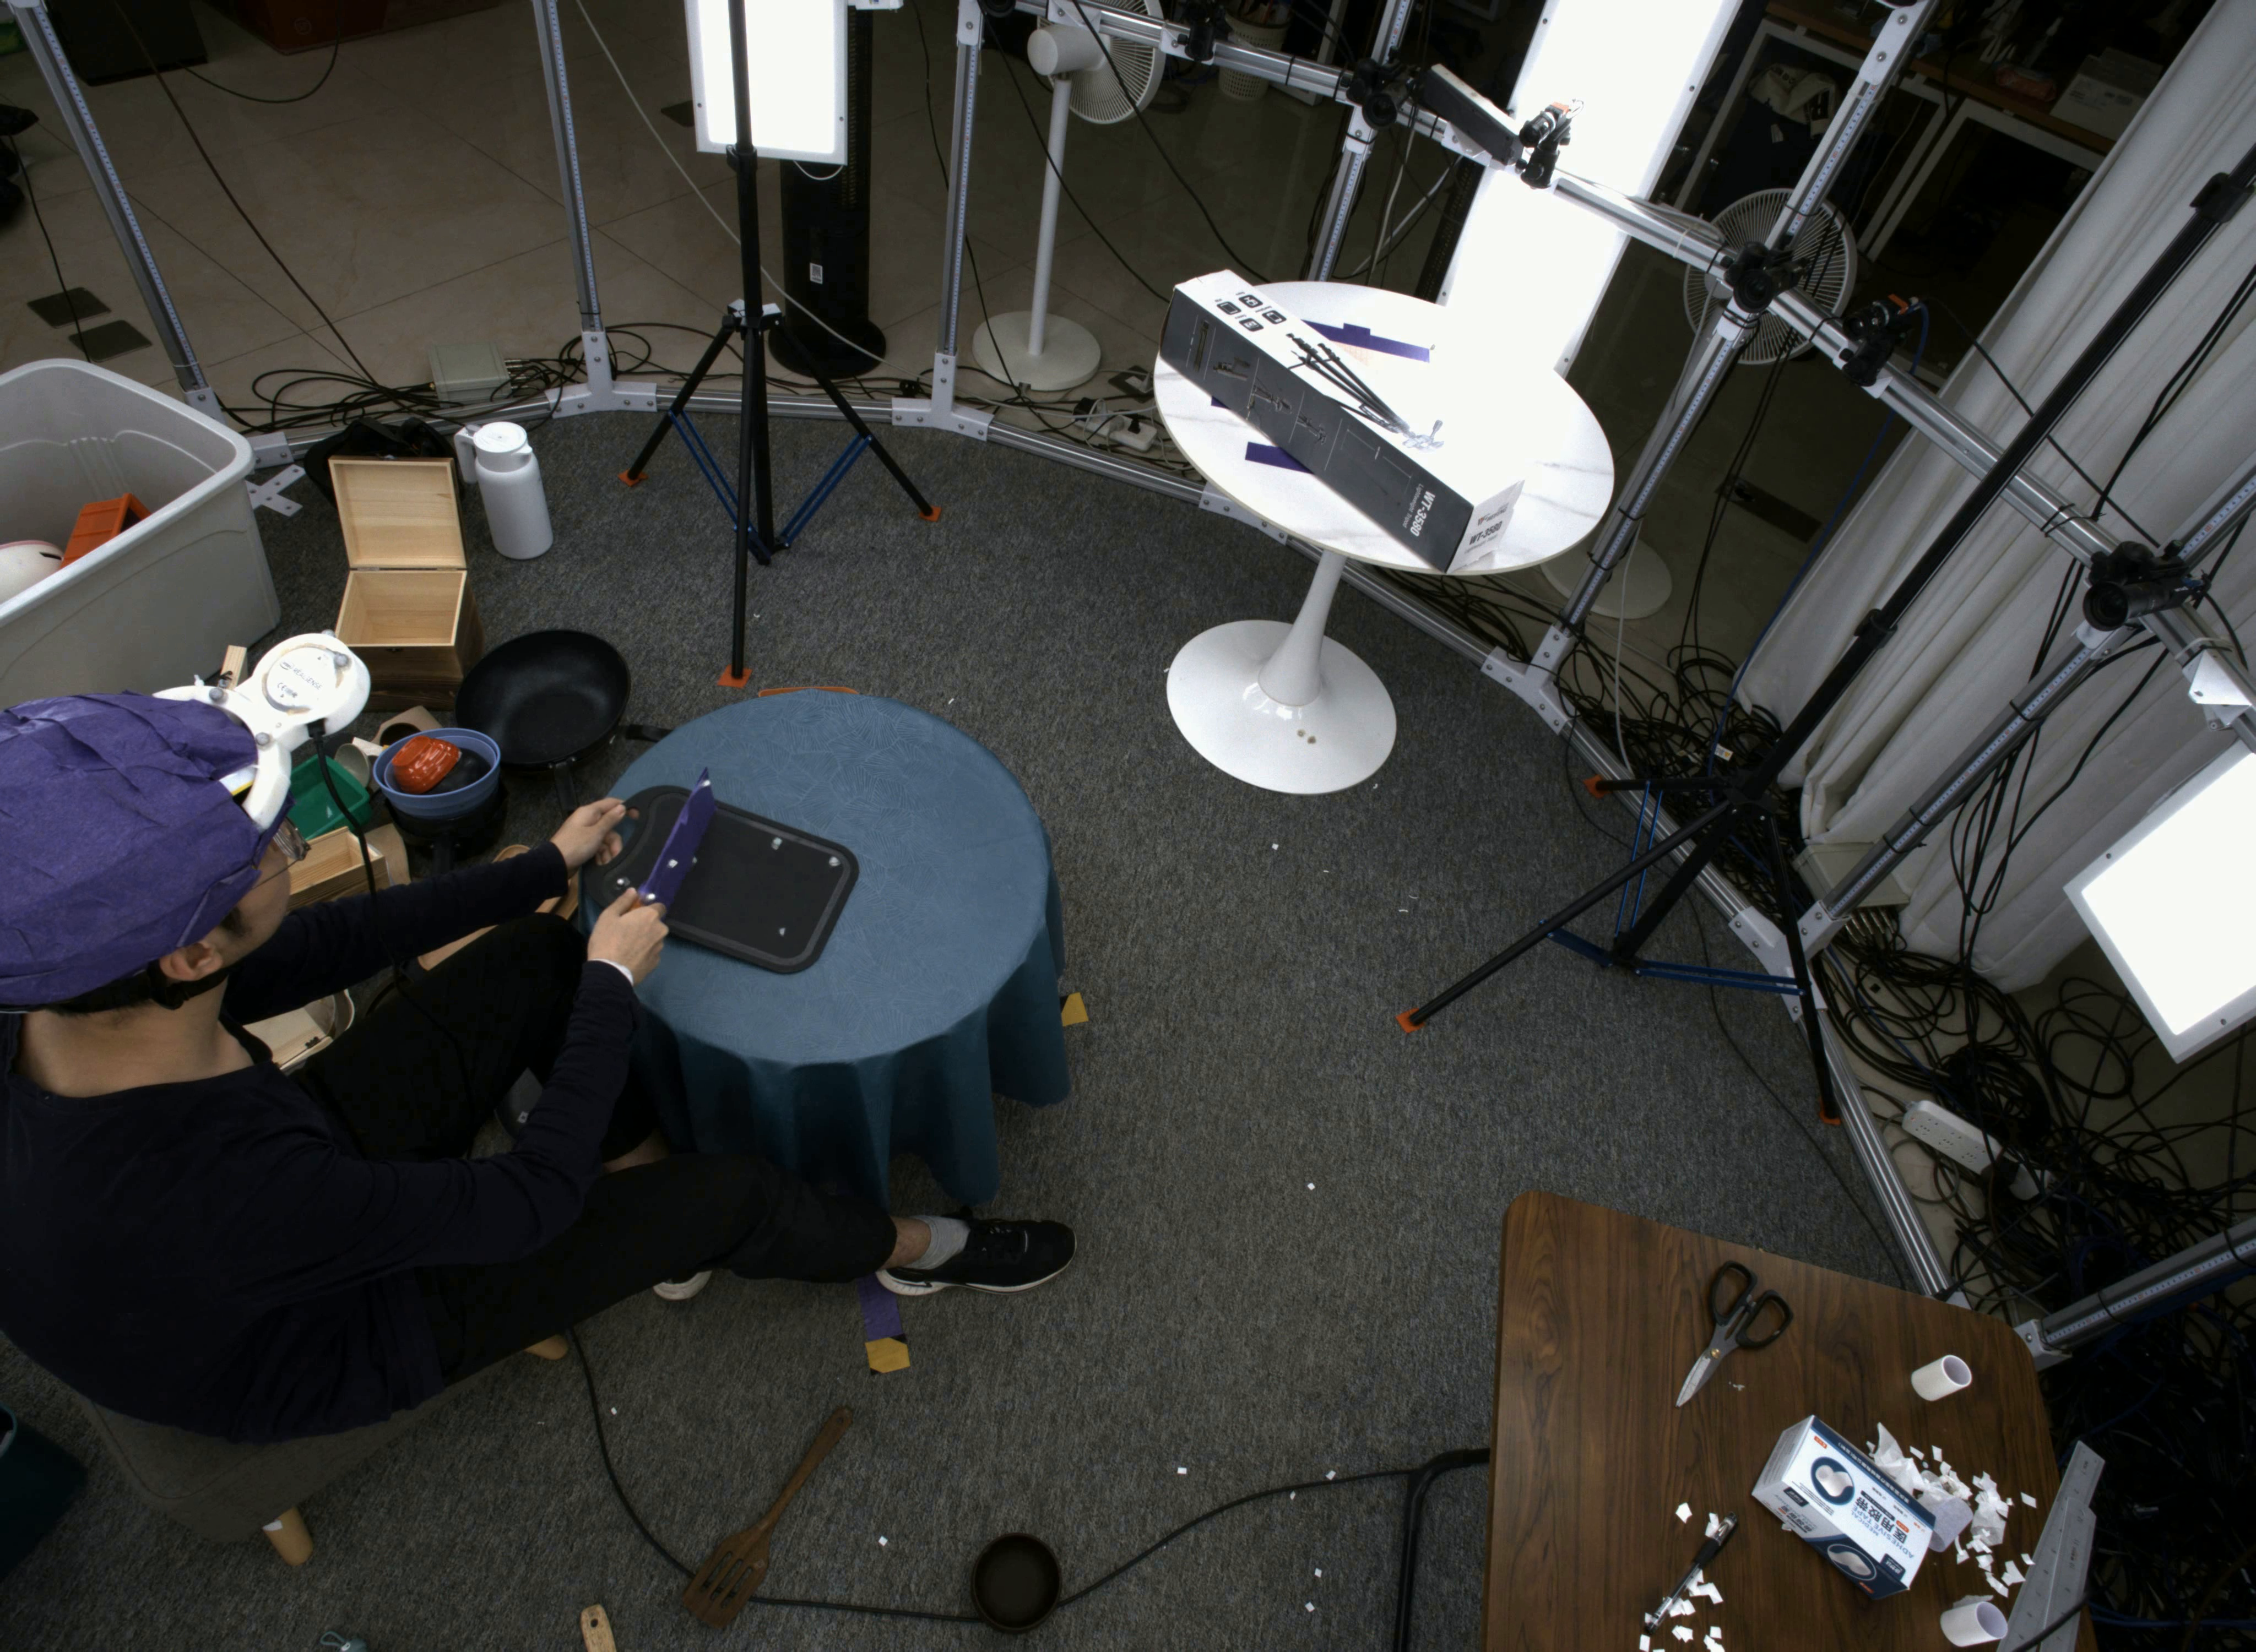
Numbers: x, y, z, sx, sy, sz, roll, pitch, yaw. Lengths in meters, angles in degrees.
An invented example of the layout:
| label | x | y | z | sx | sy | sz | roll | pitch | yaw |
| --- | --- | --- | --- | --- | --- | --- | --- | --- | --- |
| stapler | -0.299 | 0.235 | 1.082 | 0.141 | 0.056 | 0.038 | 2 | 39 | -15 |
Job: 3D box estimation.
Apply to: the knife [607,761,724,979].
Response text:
| label | x | y | z | sx | sy | sz | roll | pitch | yaw |
| --- | --- | --- | --- | --- | --- | --- | --- | --- | --- |
| knife | -0.554 | 0.066 | 1.570 | 0.032 | 0.107 | 0.311 | 10 | 51 | 5 |

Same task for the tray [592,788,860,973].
| label | x | y | z | sx | sy | sz | roll | pitch | yaw |
| --- | --- | --- | --- | --- | --- | --- | --- | --- | --- |
| tray | -0.519 | 0.060 | 1.649 | 0.324 | 0.010 | 0.208 | 21 | 51 | -4 |
